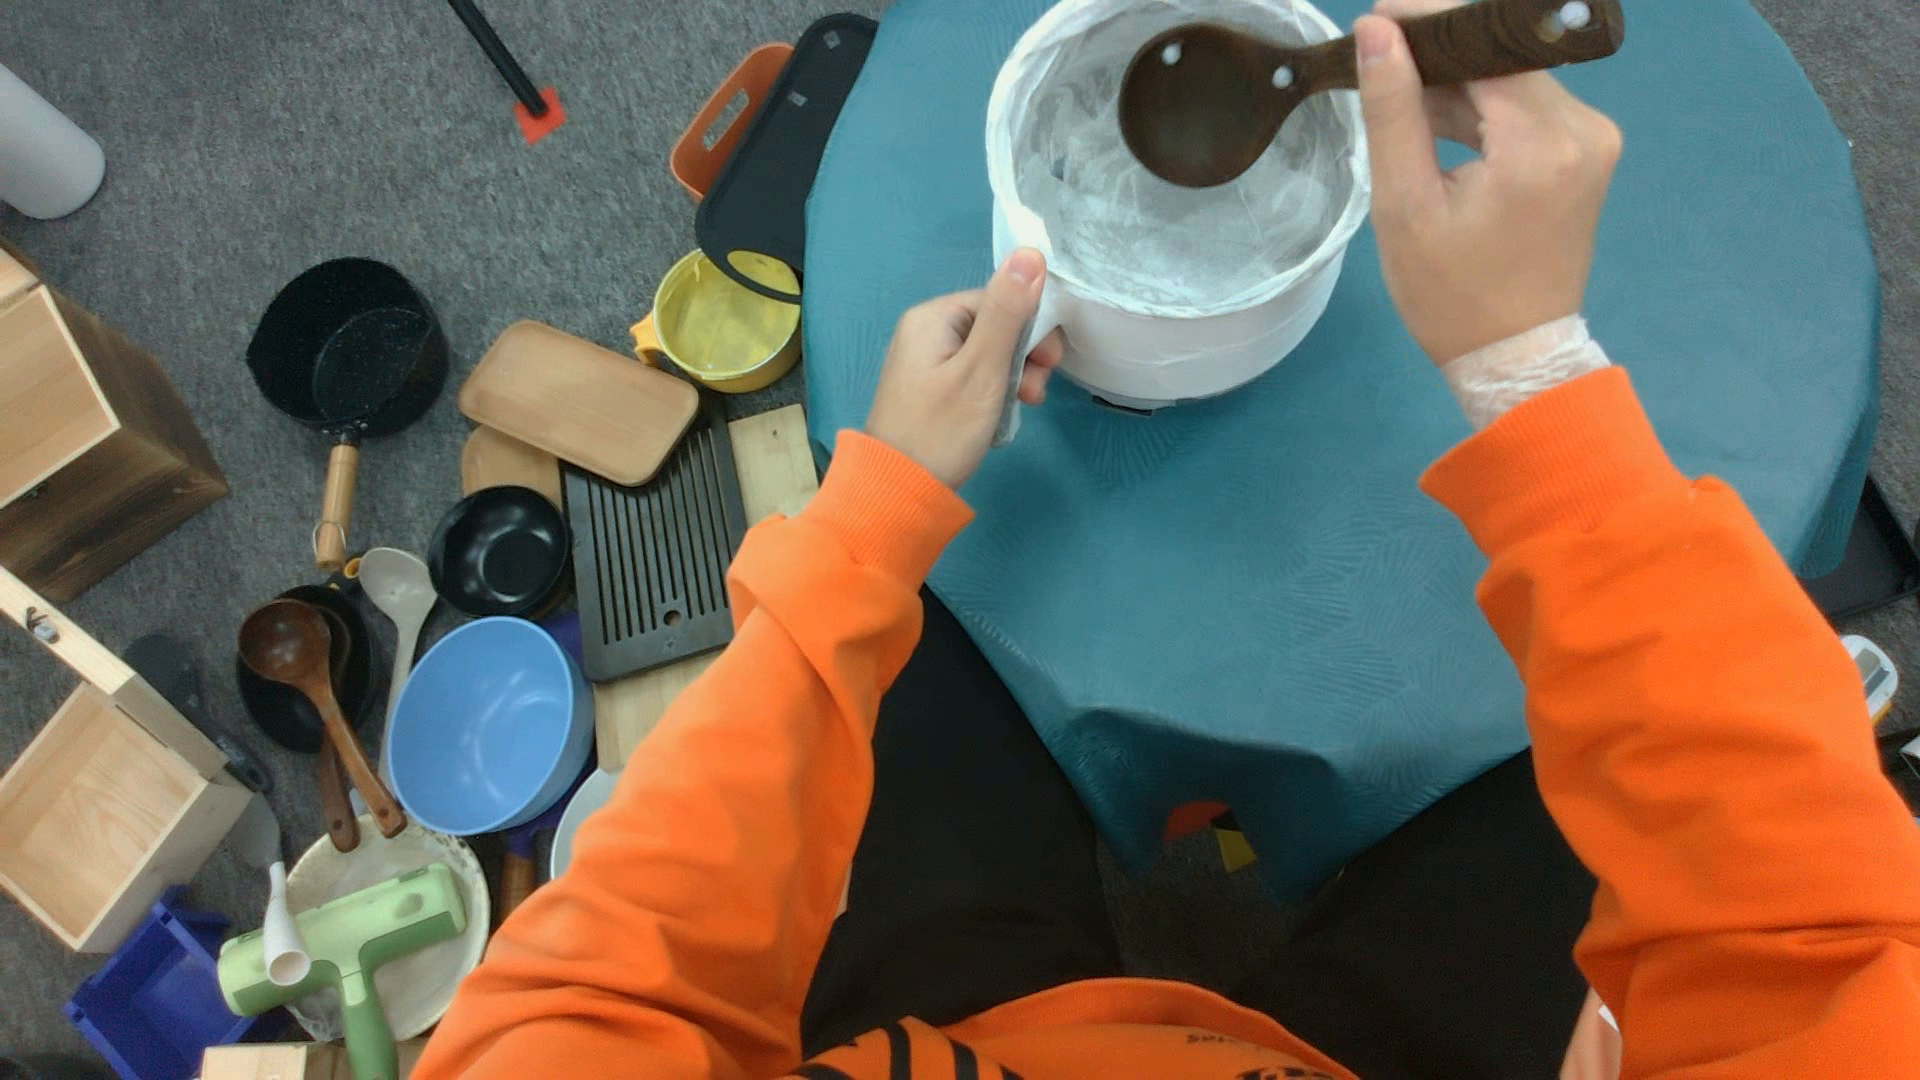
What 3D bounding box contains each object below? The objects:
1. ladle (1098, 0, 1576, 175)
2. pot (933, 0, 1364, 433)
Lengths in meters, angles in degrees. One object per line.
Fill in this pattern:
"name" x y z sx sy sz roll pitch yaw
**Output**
"ladle" 0.131 -0.178 0.545 0.076 0.274 0.071 22 99 -20
"pot" 0.076 -0.153 0.675 0.179 0.136 0.234 42 80 13
